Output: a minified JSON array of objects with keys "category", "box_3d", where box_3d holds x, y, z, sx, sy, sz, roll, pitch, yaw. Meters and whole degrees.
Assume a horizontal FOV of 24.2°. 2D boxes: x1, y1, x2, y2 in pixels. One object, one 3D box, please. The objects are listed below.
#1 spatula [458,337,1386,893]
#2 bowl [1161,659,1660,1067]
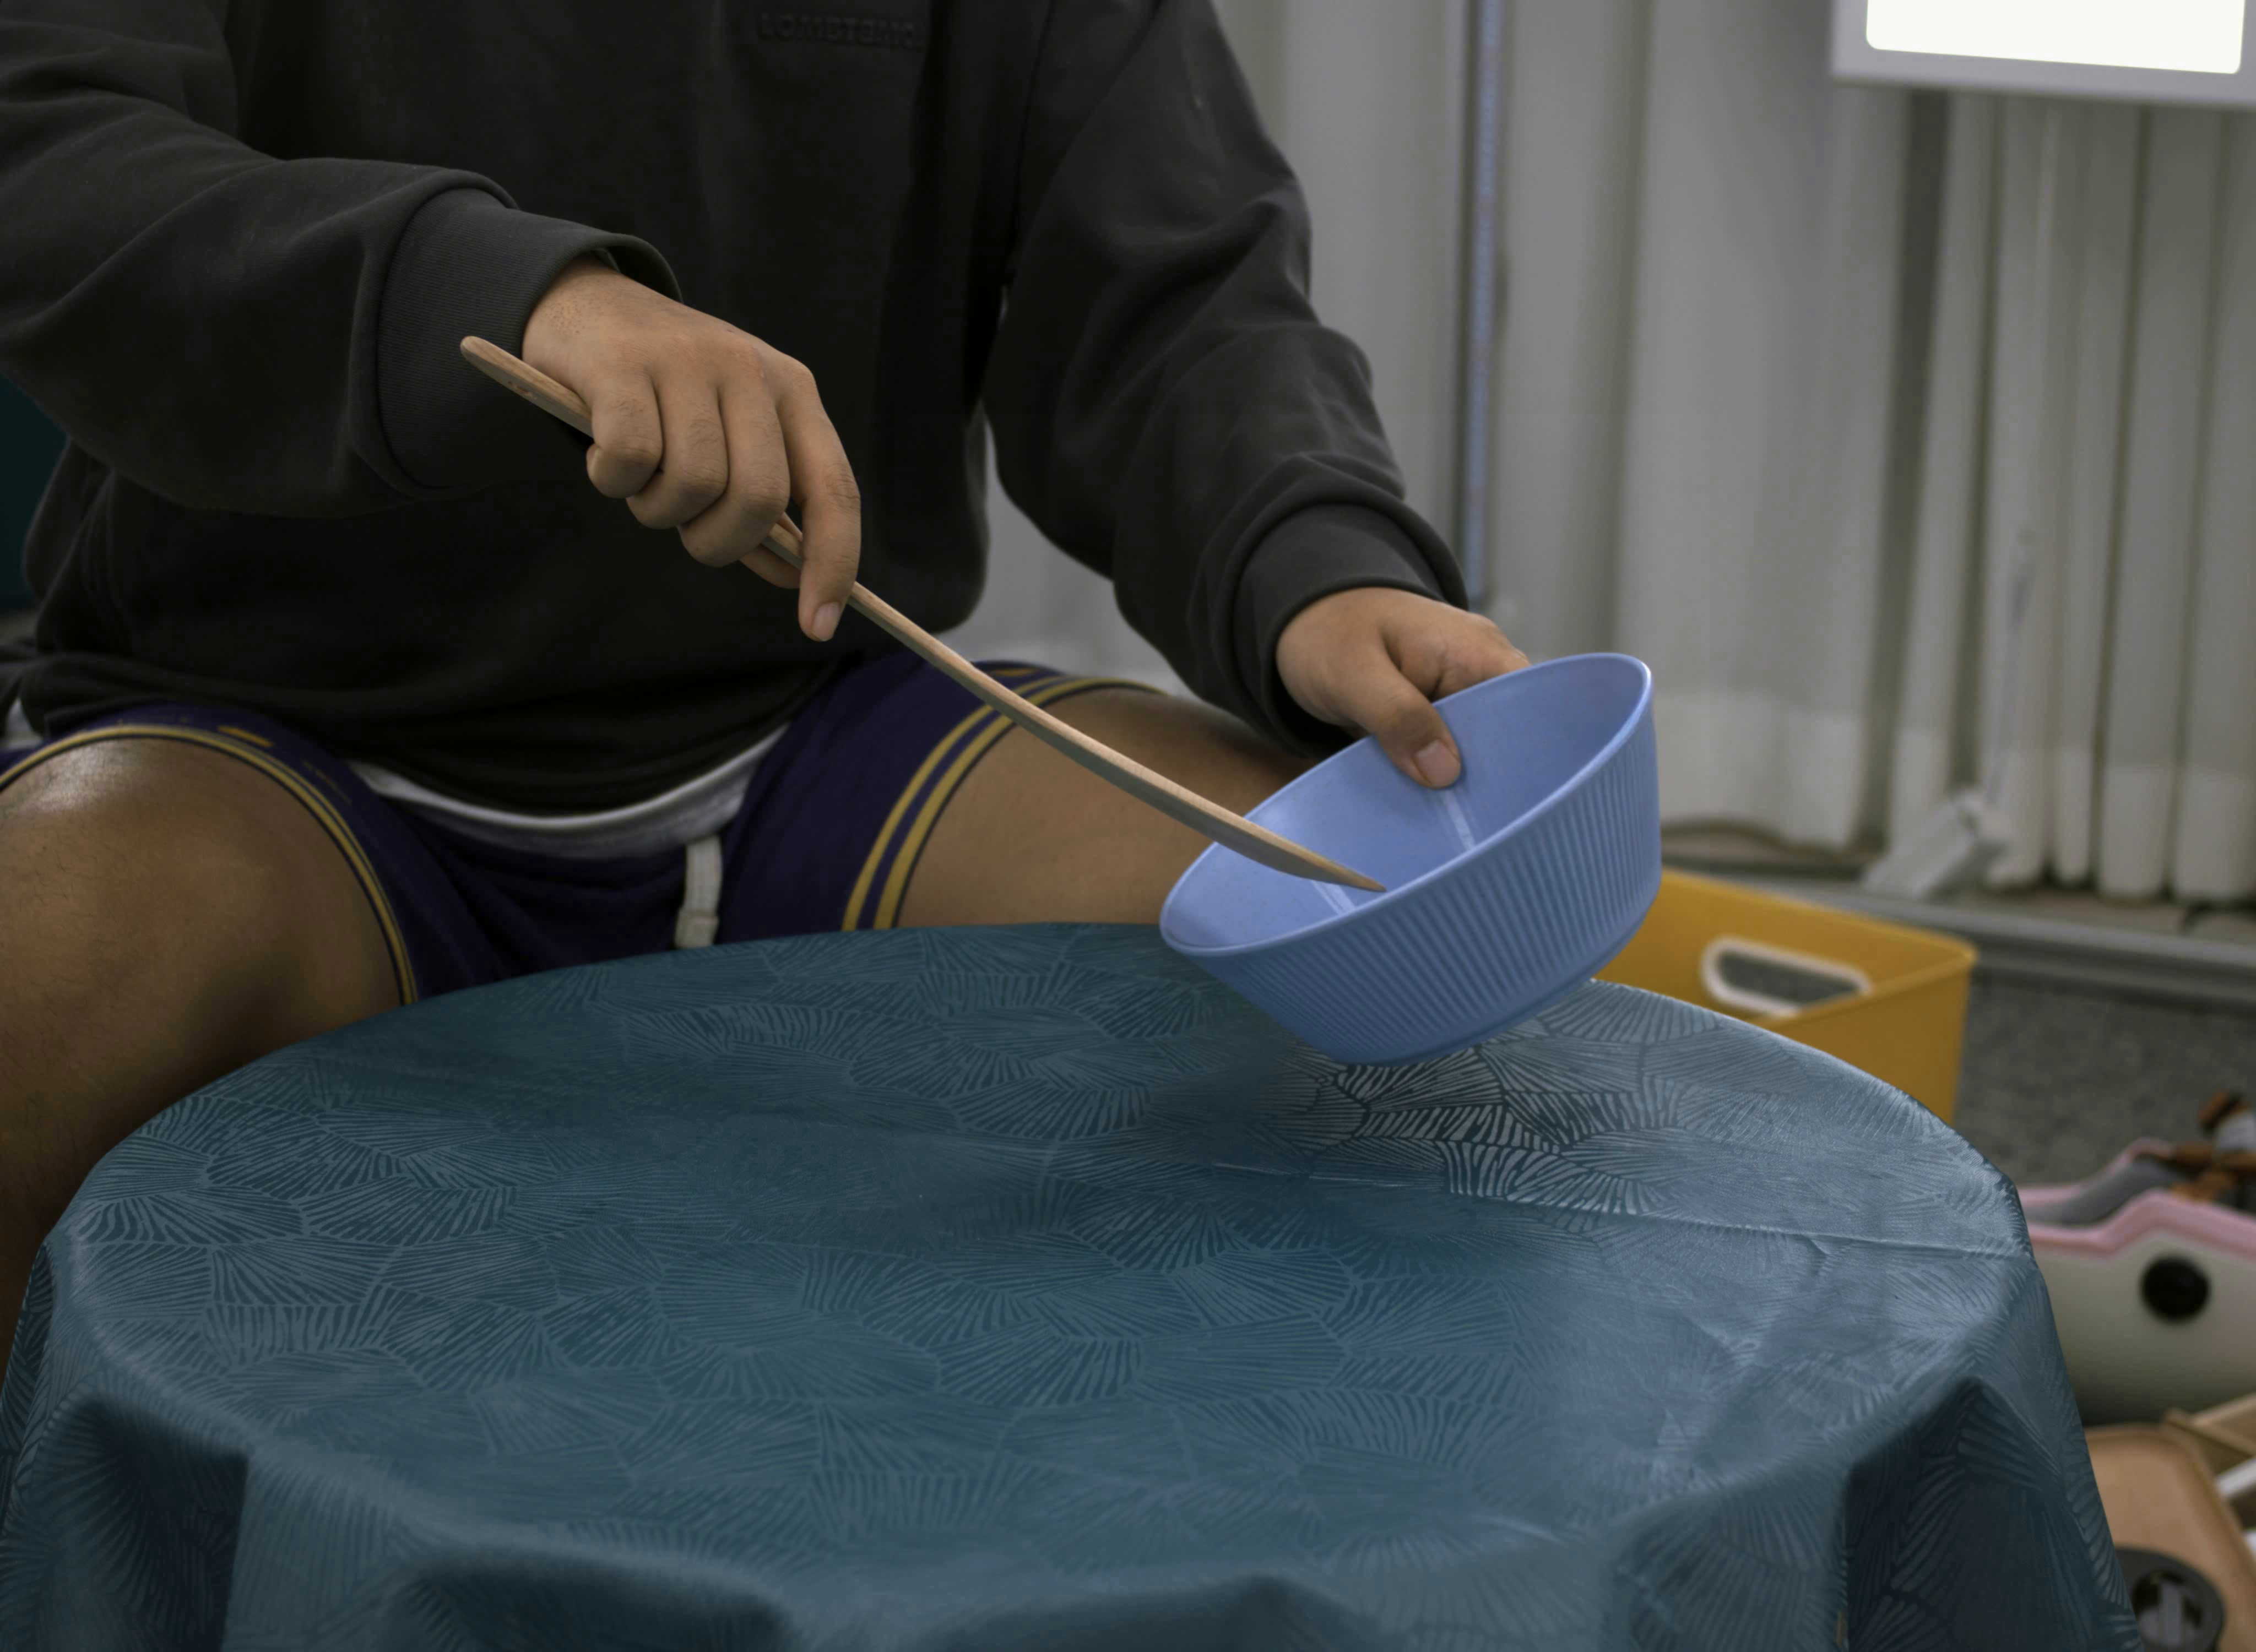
[{"category":"spatula","box_3d":[-0.065,-0.062,1.620,0.328,0.016,0.079,33,-6,-10]},{"category":"bowl","box_3d":[0.102,0.019,1.677,0.175,0.071,0.175,-27,15,9]}]
